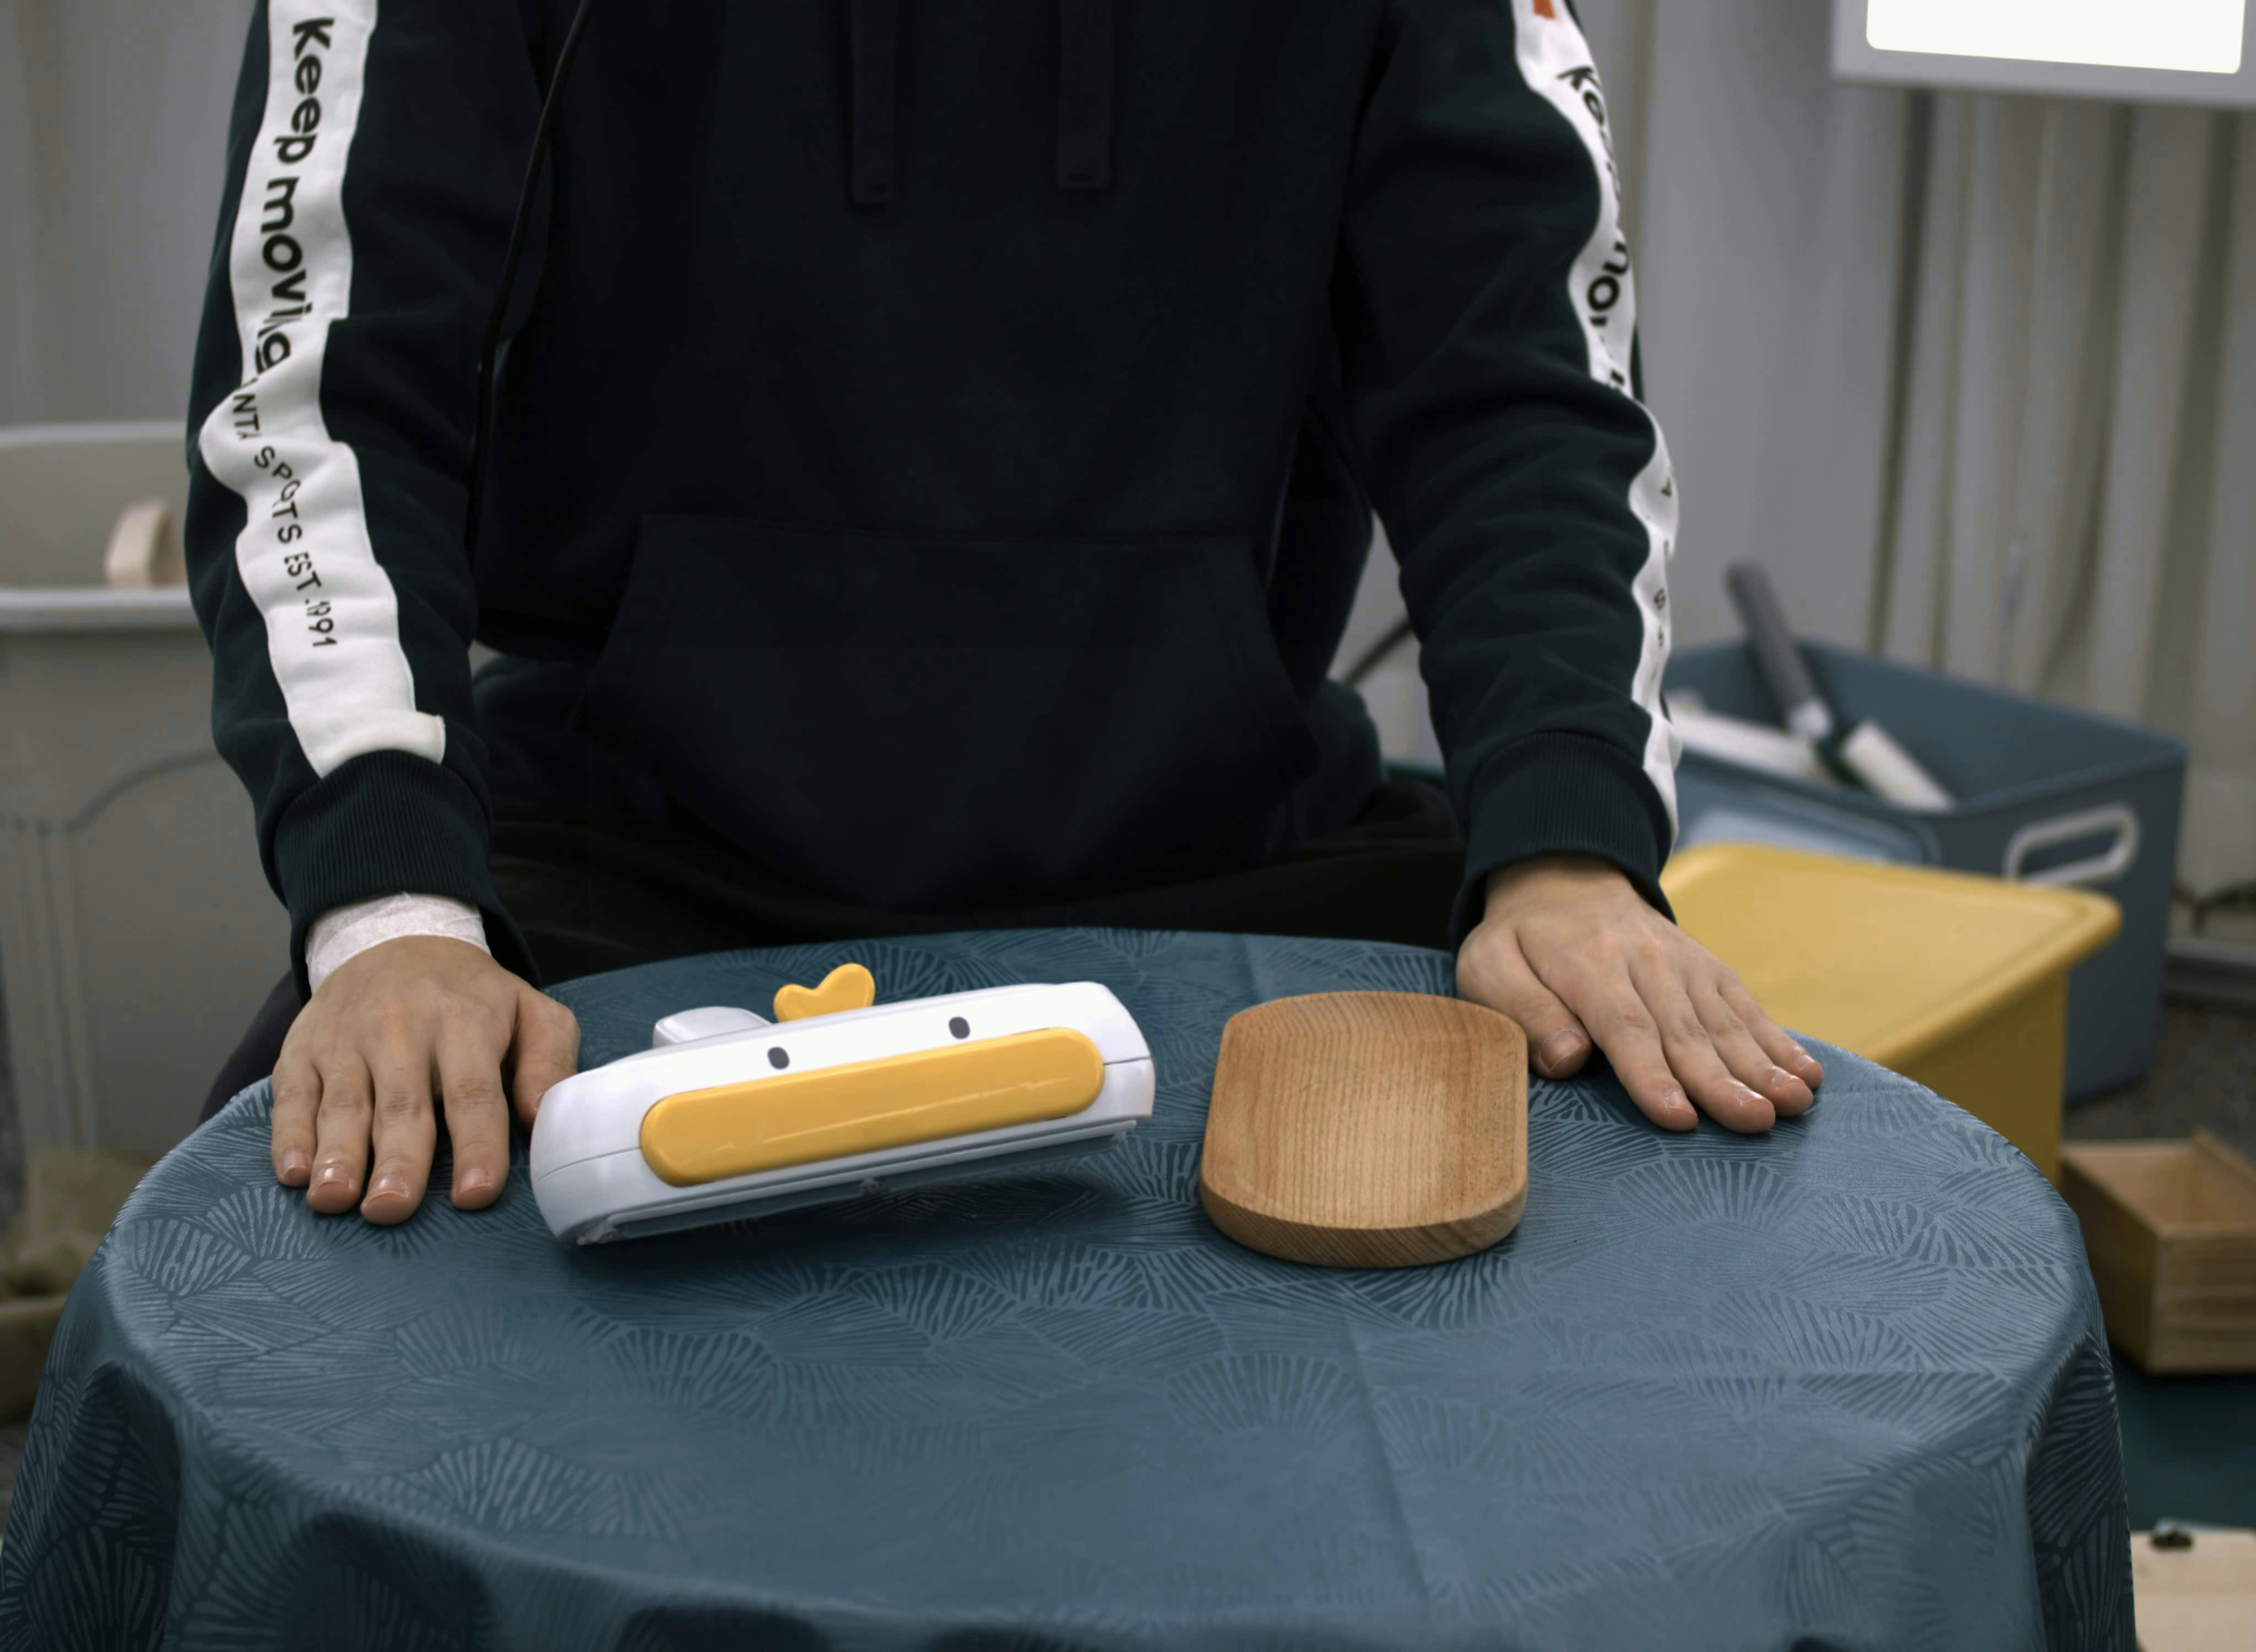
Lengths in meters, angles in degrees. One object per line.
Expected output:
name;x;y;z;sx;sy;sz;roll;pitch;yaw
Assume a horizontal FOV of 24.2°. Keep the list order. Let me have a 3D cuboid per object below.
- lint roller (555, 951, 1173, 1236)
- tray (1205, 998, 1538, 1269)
lint roller;-0.104;0.082;1.635;0.193;0.074;0.191;-14;1;-25
tray;0.077;0.094;1.656;0.101;0.020;0.230;0;17;3
